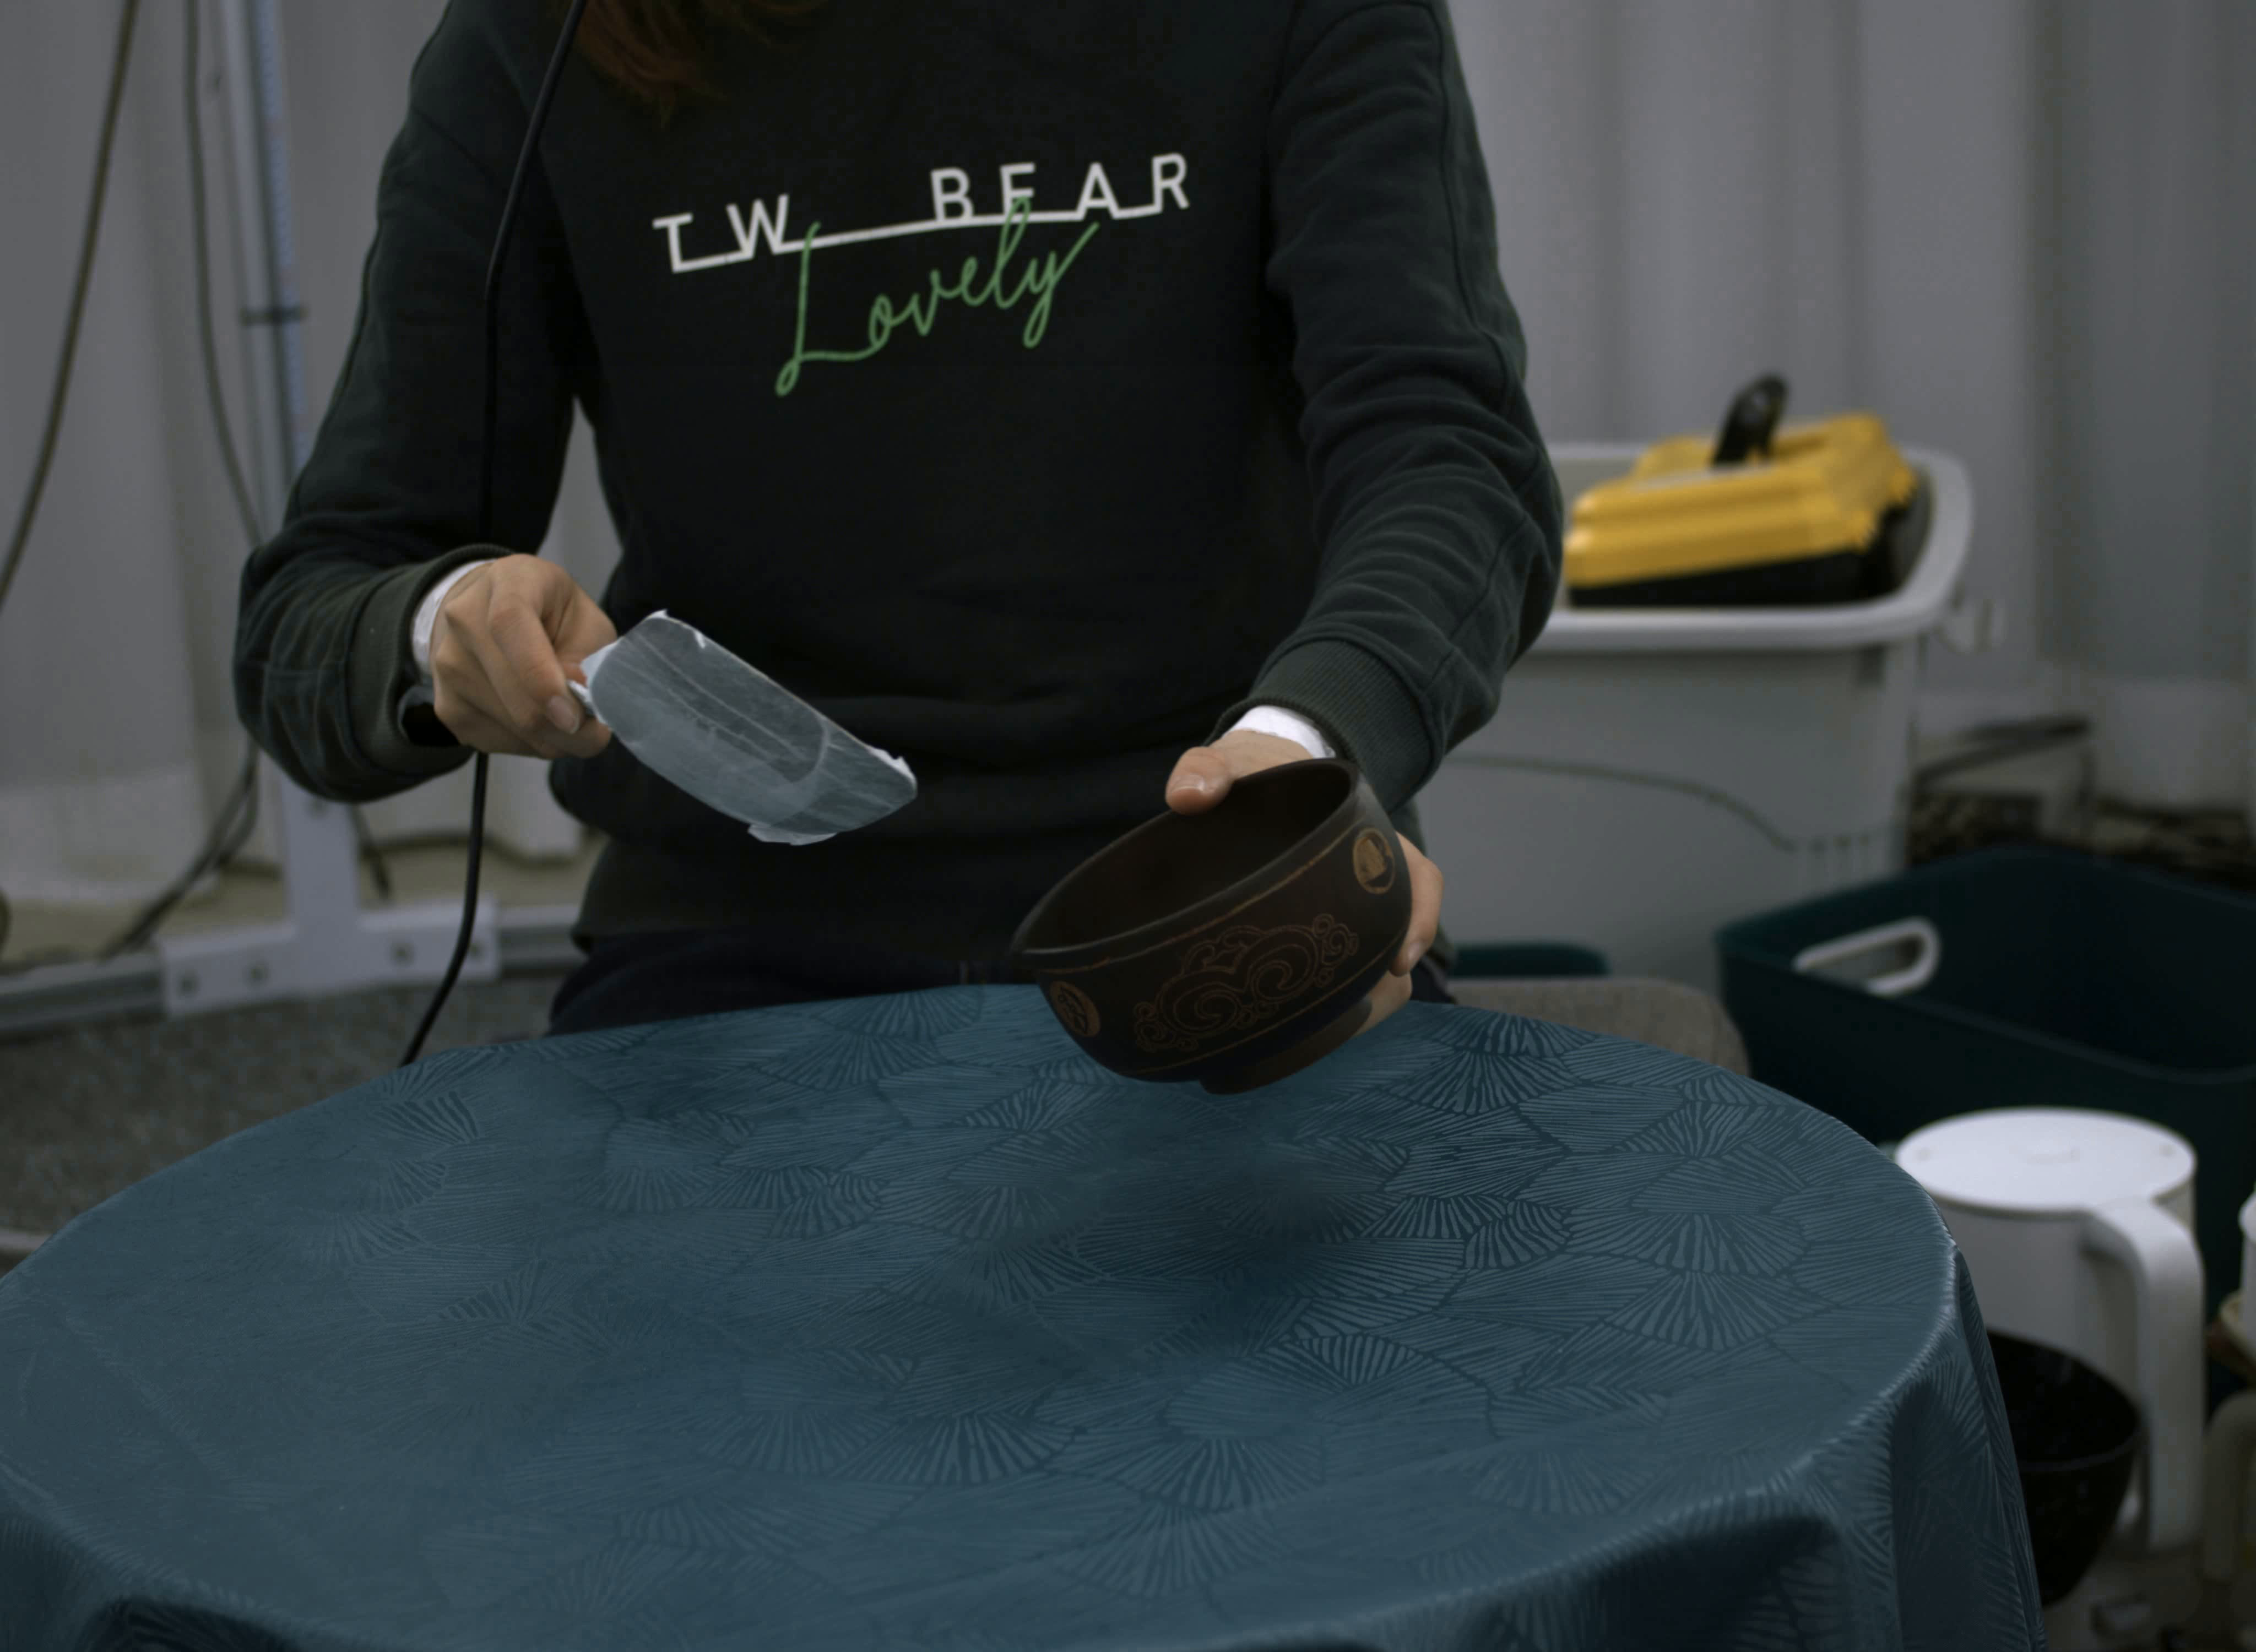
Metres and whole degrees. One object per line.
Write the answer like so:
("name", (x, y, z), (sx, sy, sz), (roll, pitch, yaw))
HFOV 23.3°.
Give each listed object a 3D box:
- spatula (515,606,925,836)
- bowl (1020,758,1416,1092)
("spatula", (-0.153, -0.035, 1.755), (0.098, 0.045, 0.366), (33, -5, -16))
("bowl", (0.033, 0.036, 1.642), (0.118, 0.069, 0.119), (-24, 12, 5))
